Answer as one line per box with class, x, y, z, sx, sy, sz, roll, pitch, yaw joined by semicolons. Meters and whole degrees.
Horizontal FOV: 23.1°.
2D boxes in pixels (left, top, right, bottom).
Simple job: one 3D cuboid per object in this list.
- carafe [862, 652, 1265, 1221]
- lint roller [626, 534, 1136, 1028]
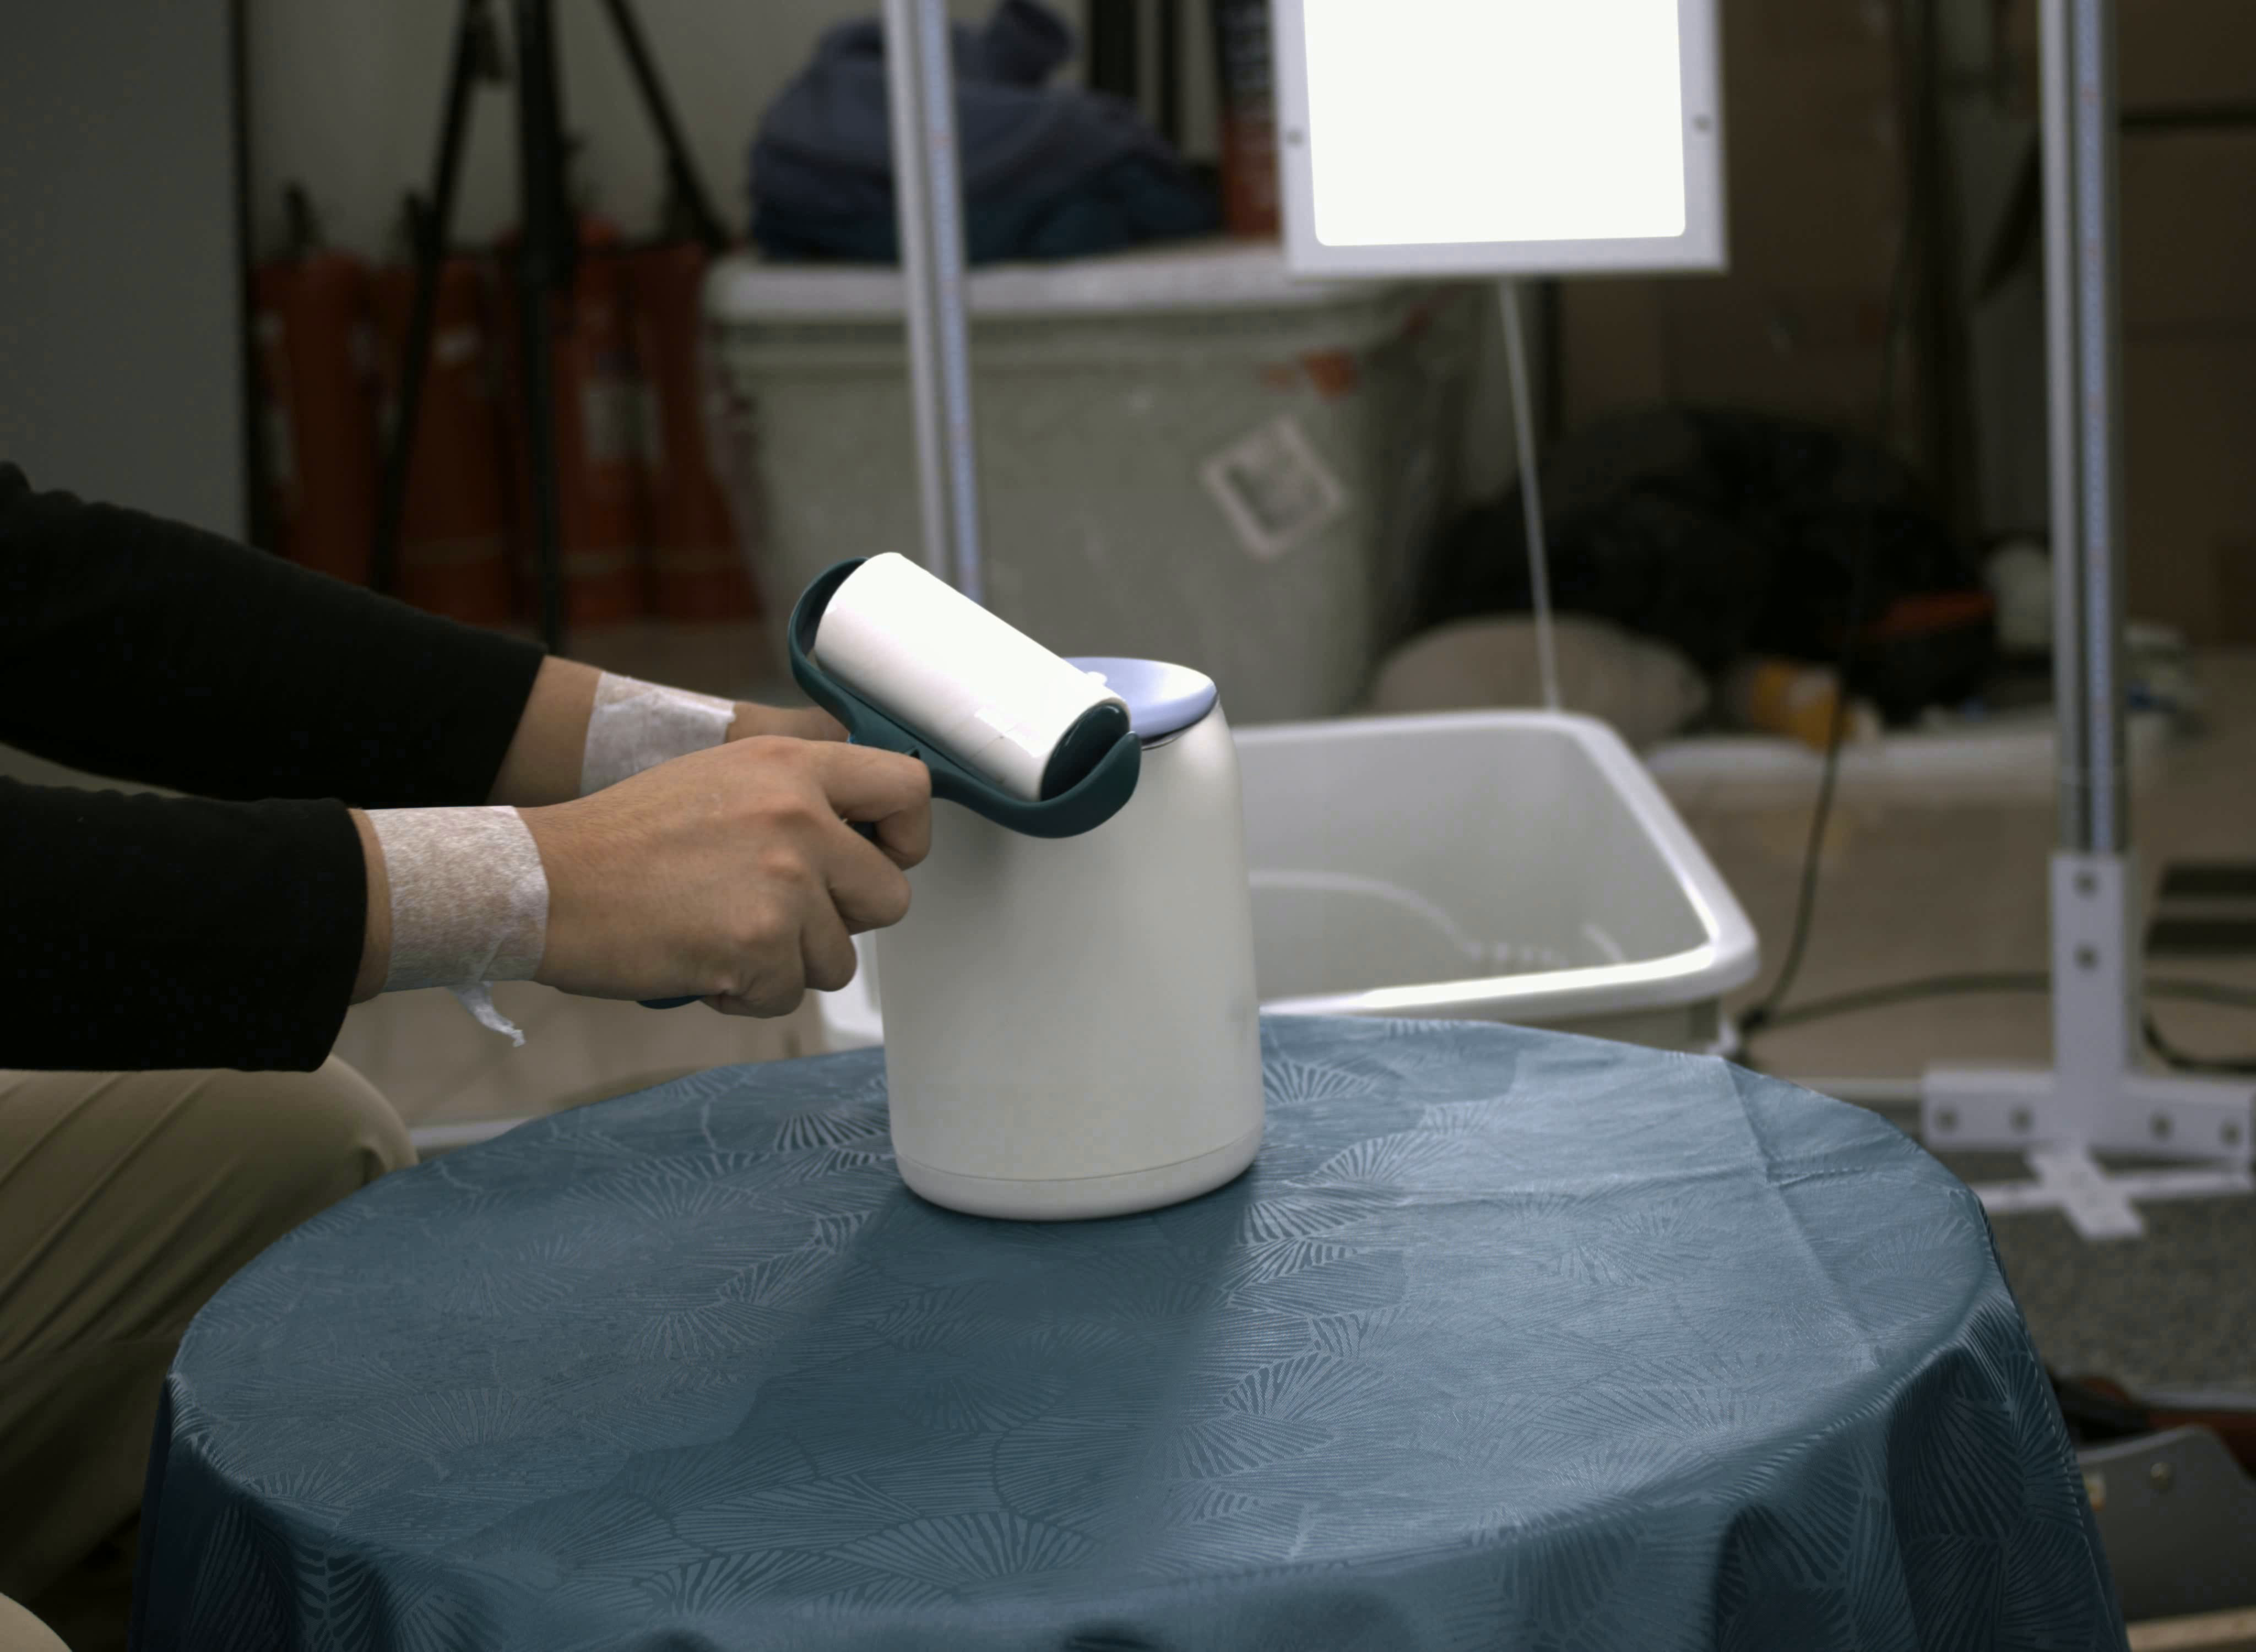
carafe;-0.036;0.034;1.927;0.129;0.183;0.195;-13;14;-31
lint roller;-0.097;-0.006;1.768;0.136;0.048;0.177;33;61;29
